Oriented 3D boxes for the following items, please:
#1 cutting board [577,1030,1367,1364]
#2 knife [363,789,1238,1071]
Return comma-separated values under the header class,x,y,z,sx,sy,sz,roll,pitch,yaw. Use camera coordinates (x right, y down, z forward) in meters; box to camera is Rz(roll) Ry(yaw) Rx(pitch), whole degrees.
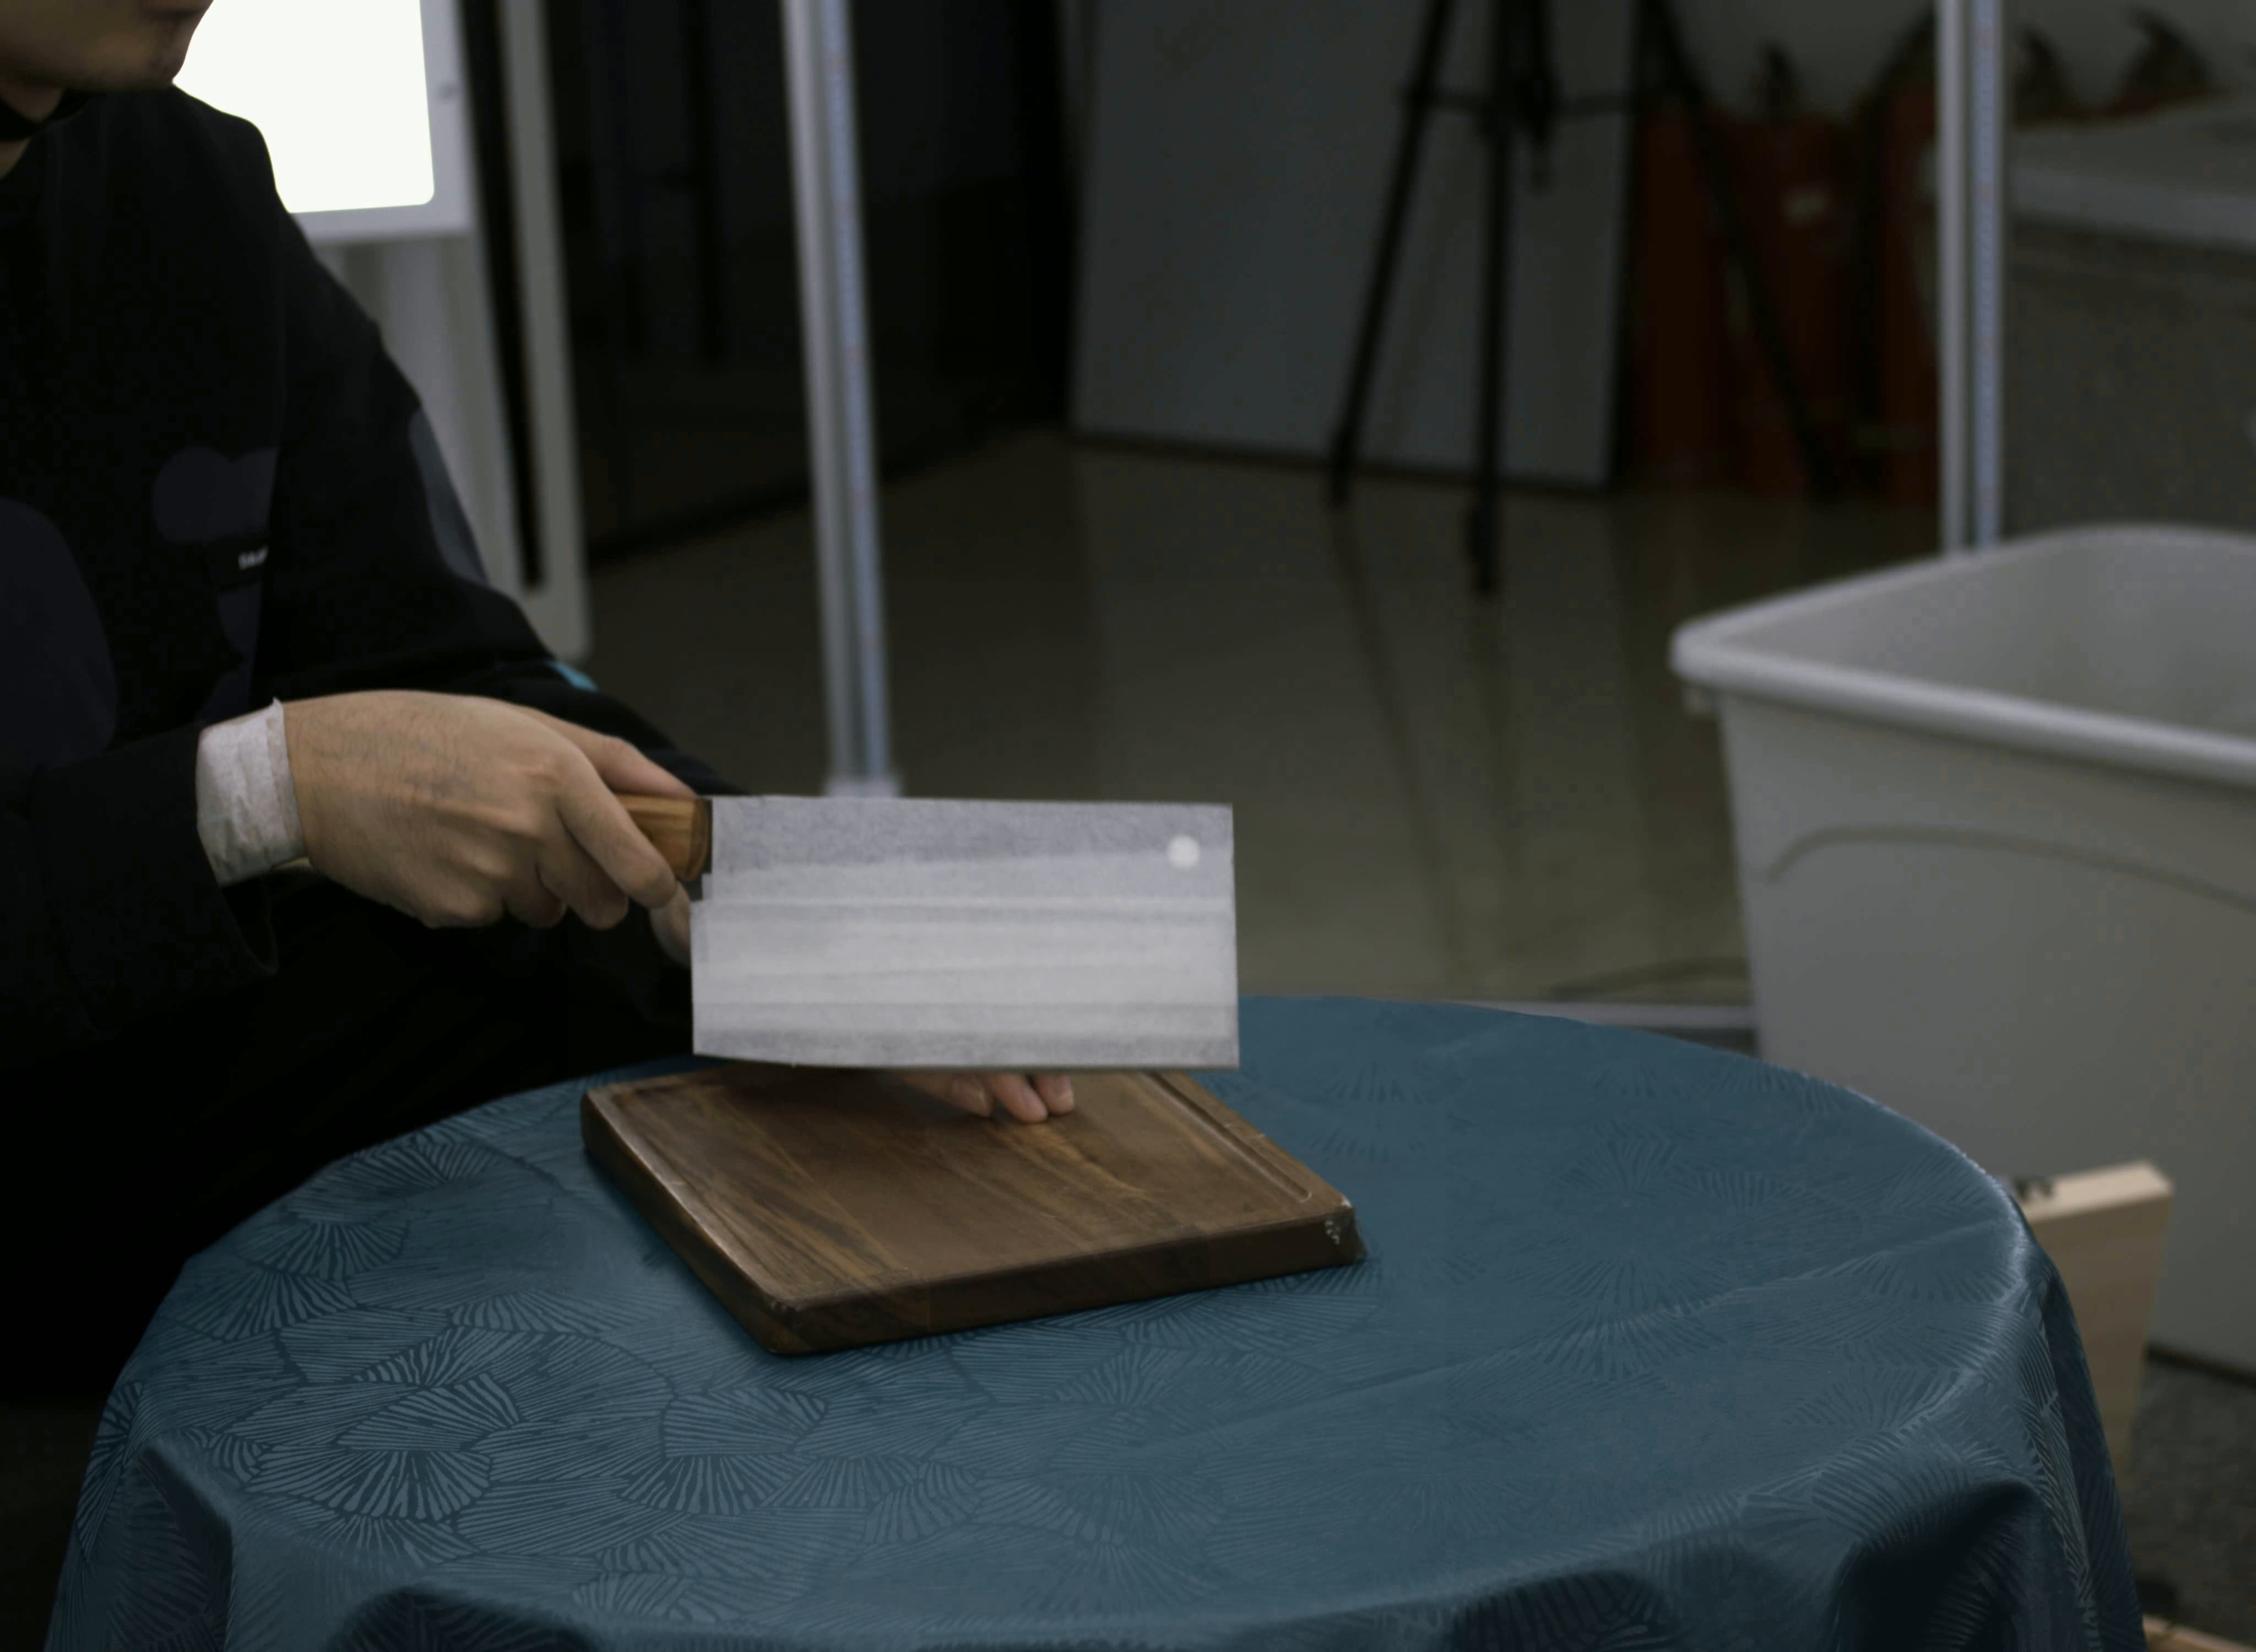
class,x,y,z,sx,sy,sz,roll,pitch,yaw
cutting board,-0.073,0.105,1.814,0.197,0.023,0.355,-9,14,-18
knife,-0.110,0.035,1.793,0.304,0.094,0.021,1,10,16
